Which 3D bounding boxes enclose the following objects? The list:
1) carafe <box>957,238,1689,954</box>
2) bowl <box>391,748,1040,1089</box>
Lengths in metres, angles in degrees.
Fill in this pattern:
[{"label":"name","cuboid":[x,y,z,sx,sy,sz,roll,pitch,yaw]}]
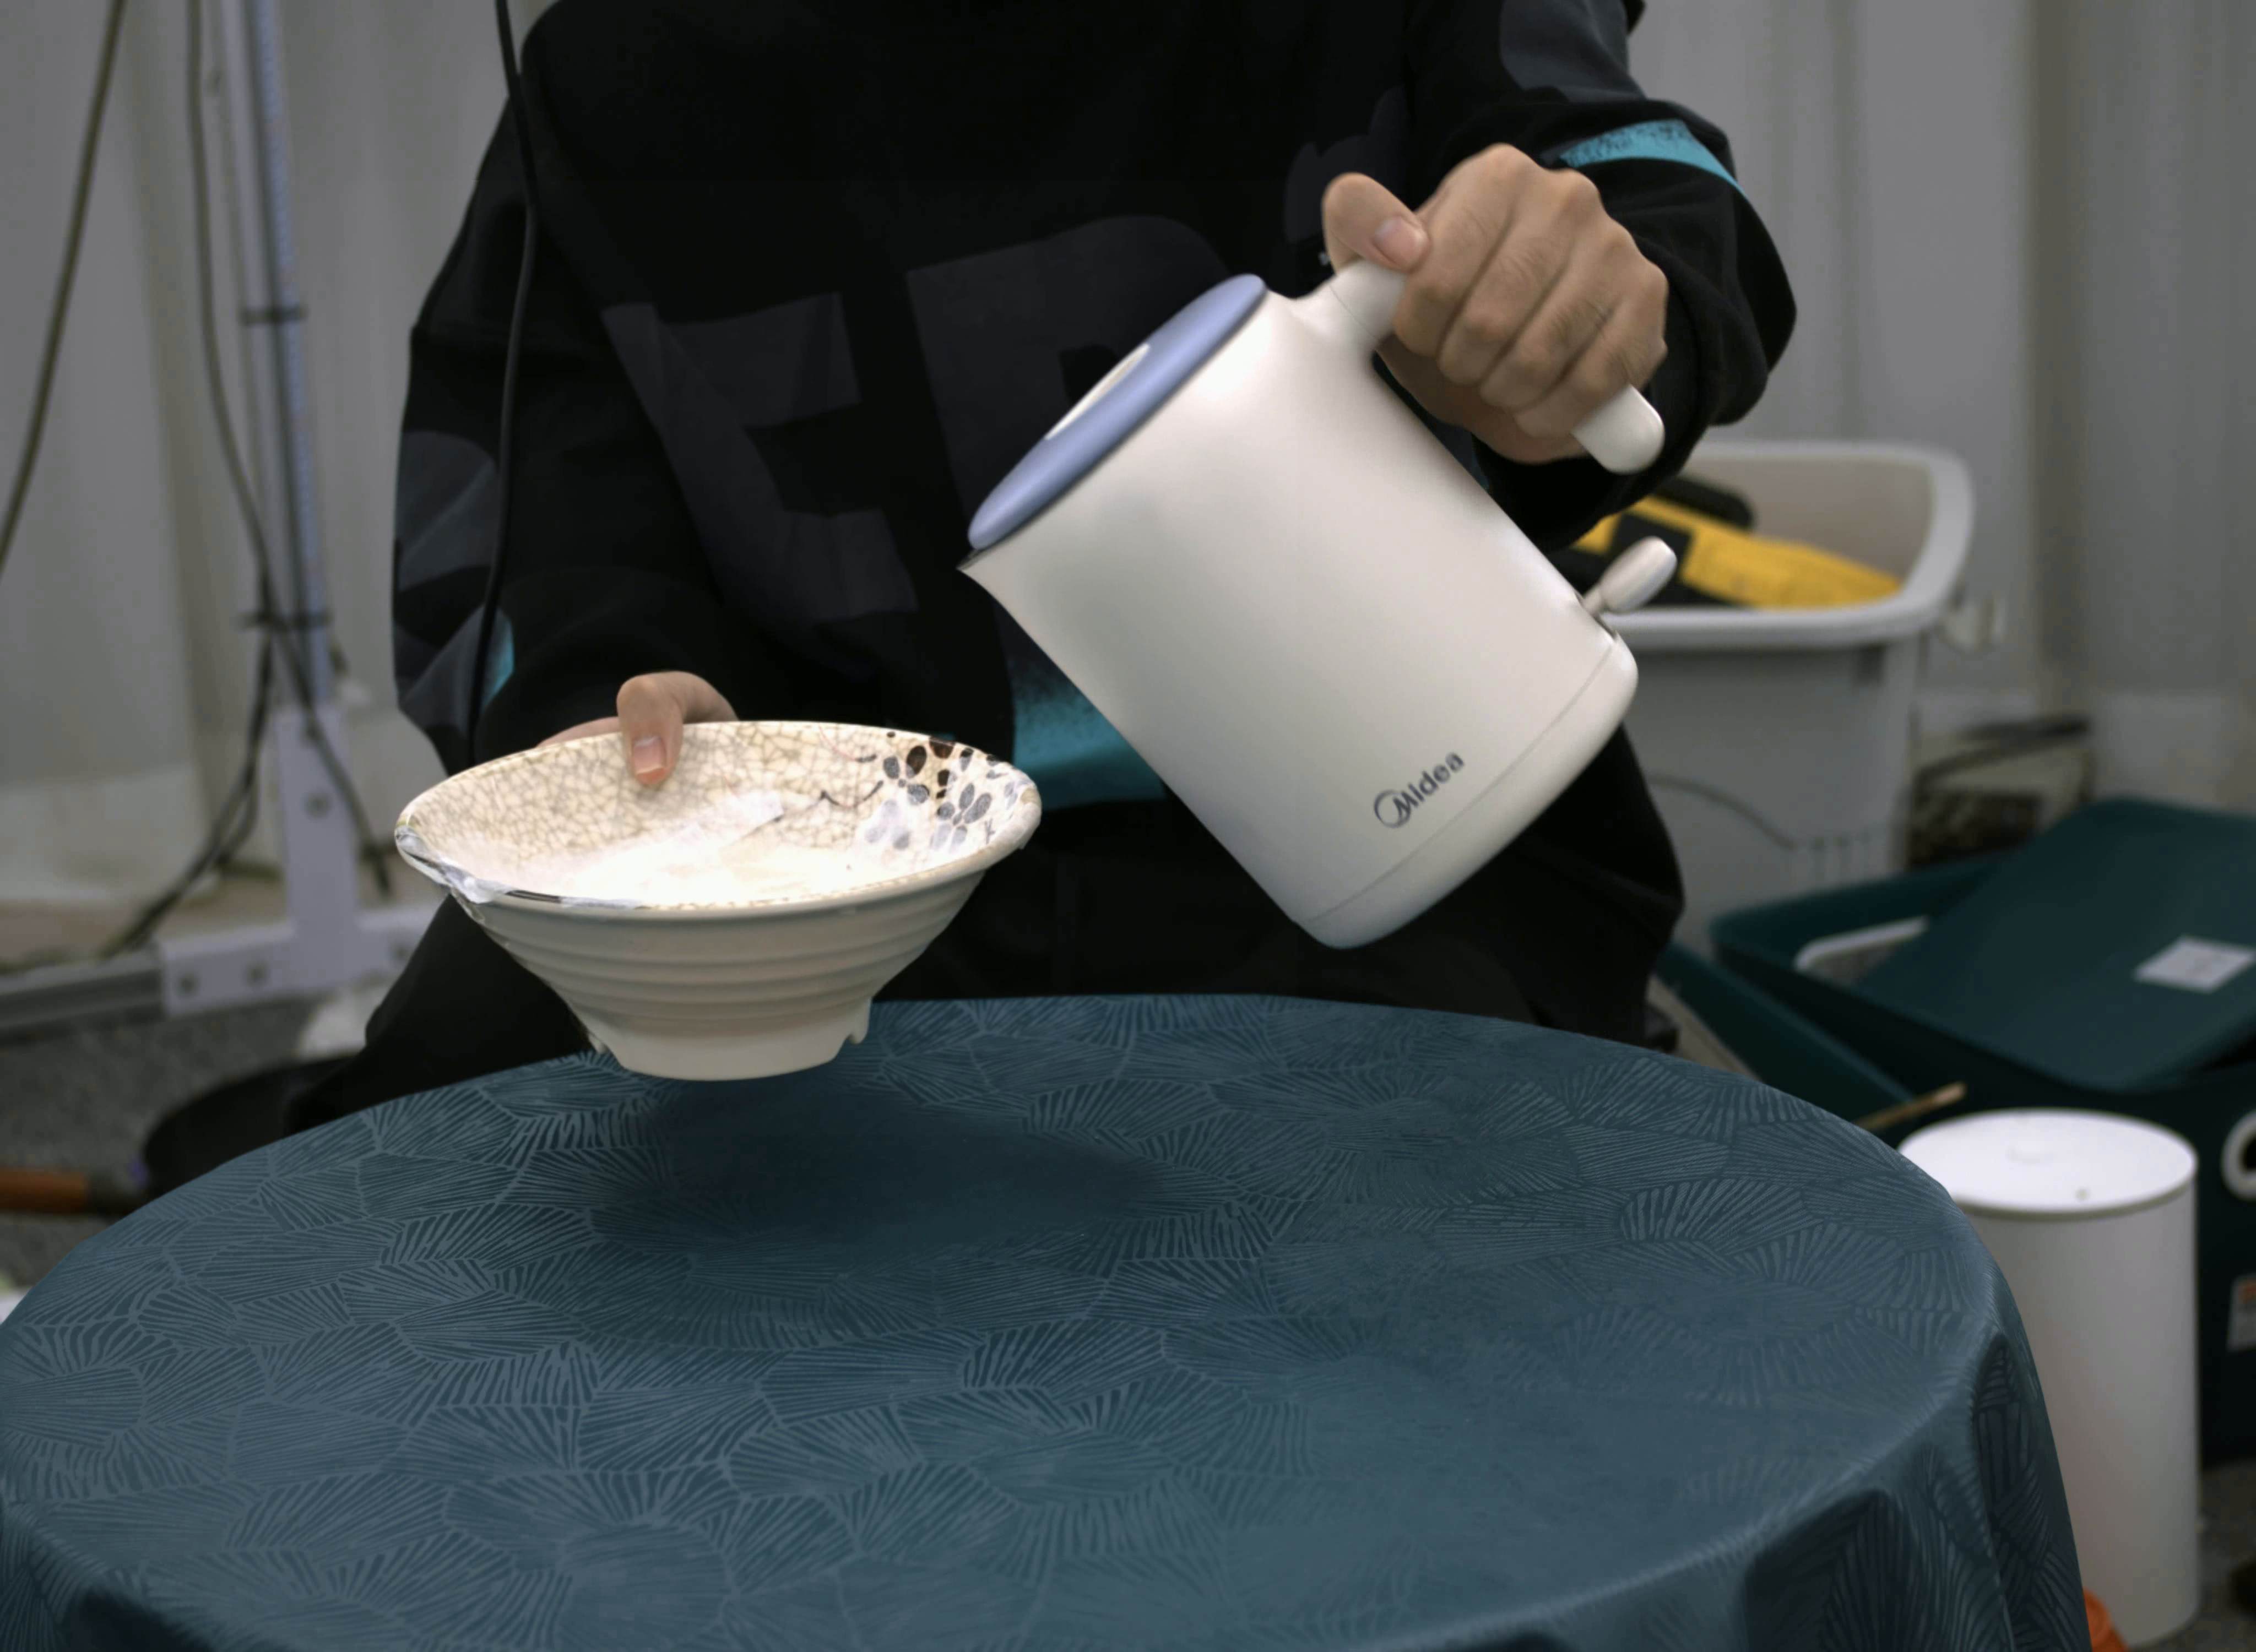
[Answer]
[{"label":"carafe","cuboid":[0.071,-0.079,1.648,0.190,0.182,0.133,-39,8,9]},{"label":"bowl","cuboid":[-0.129,0.034,1.725,0.203,0.078,0.205,0,13,0]}]
